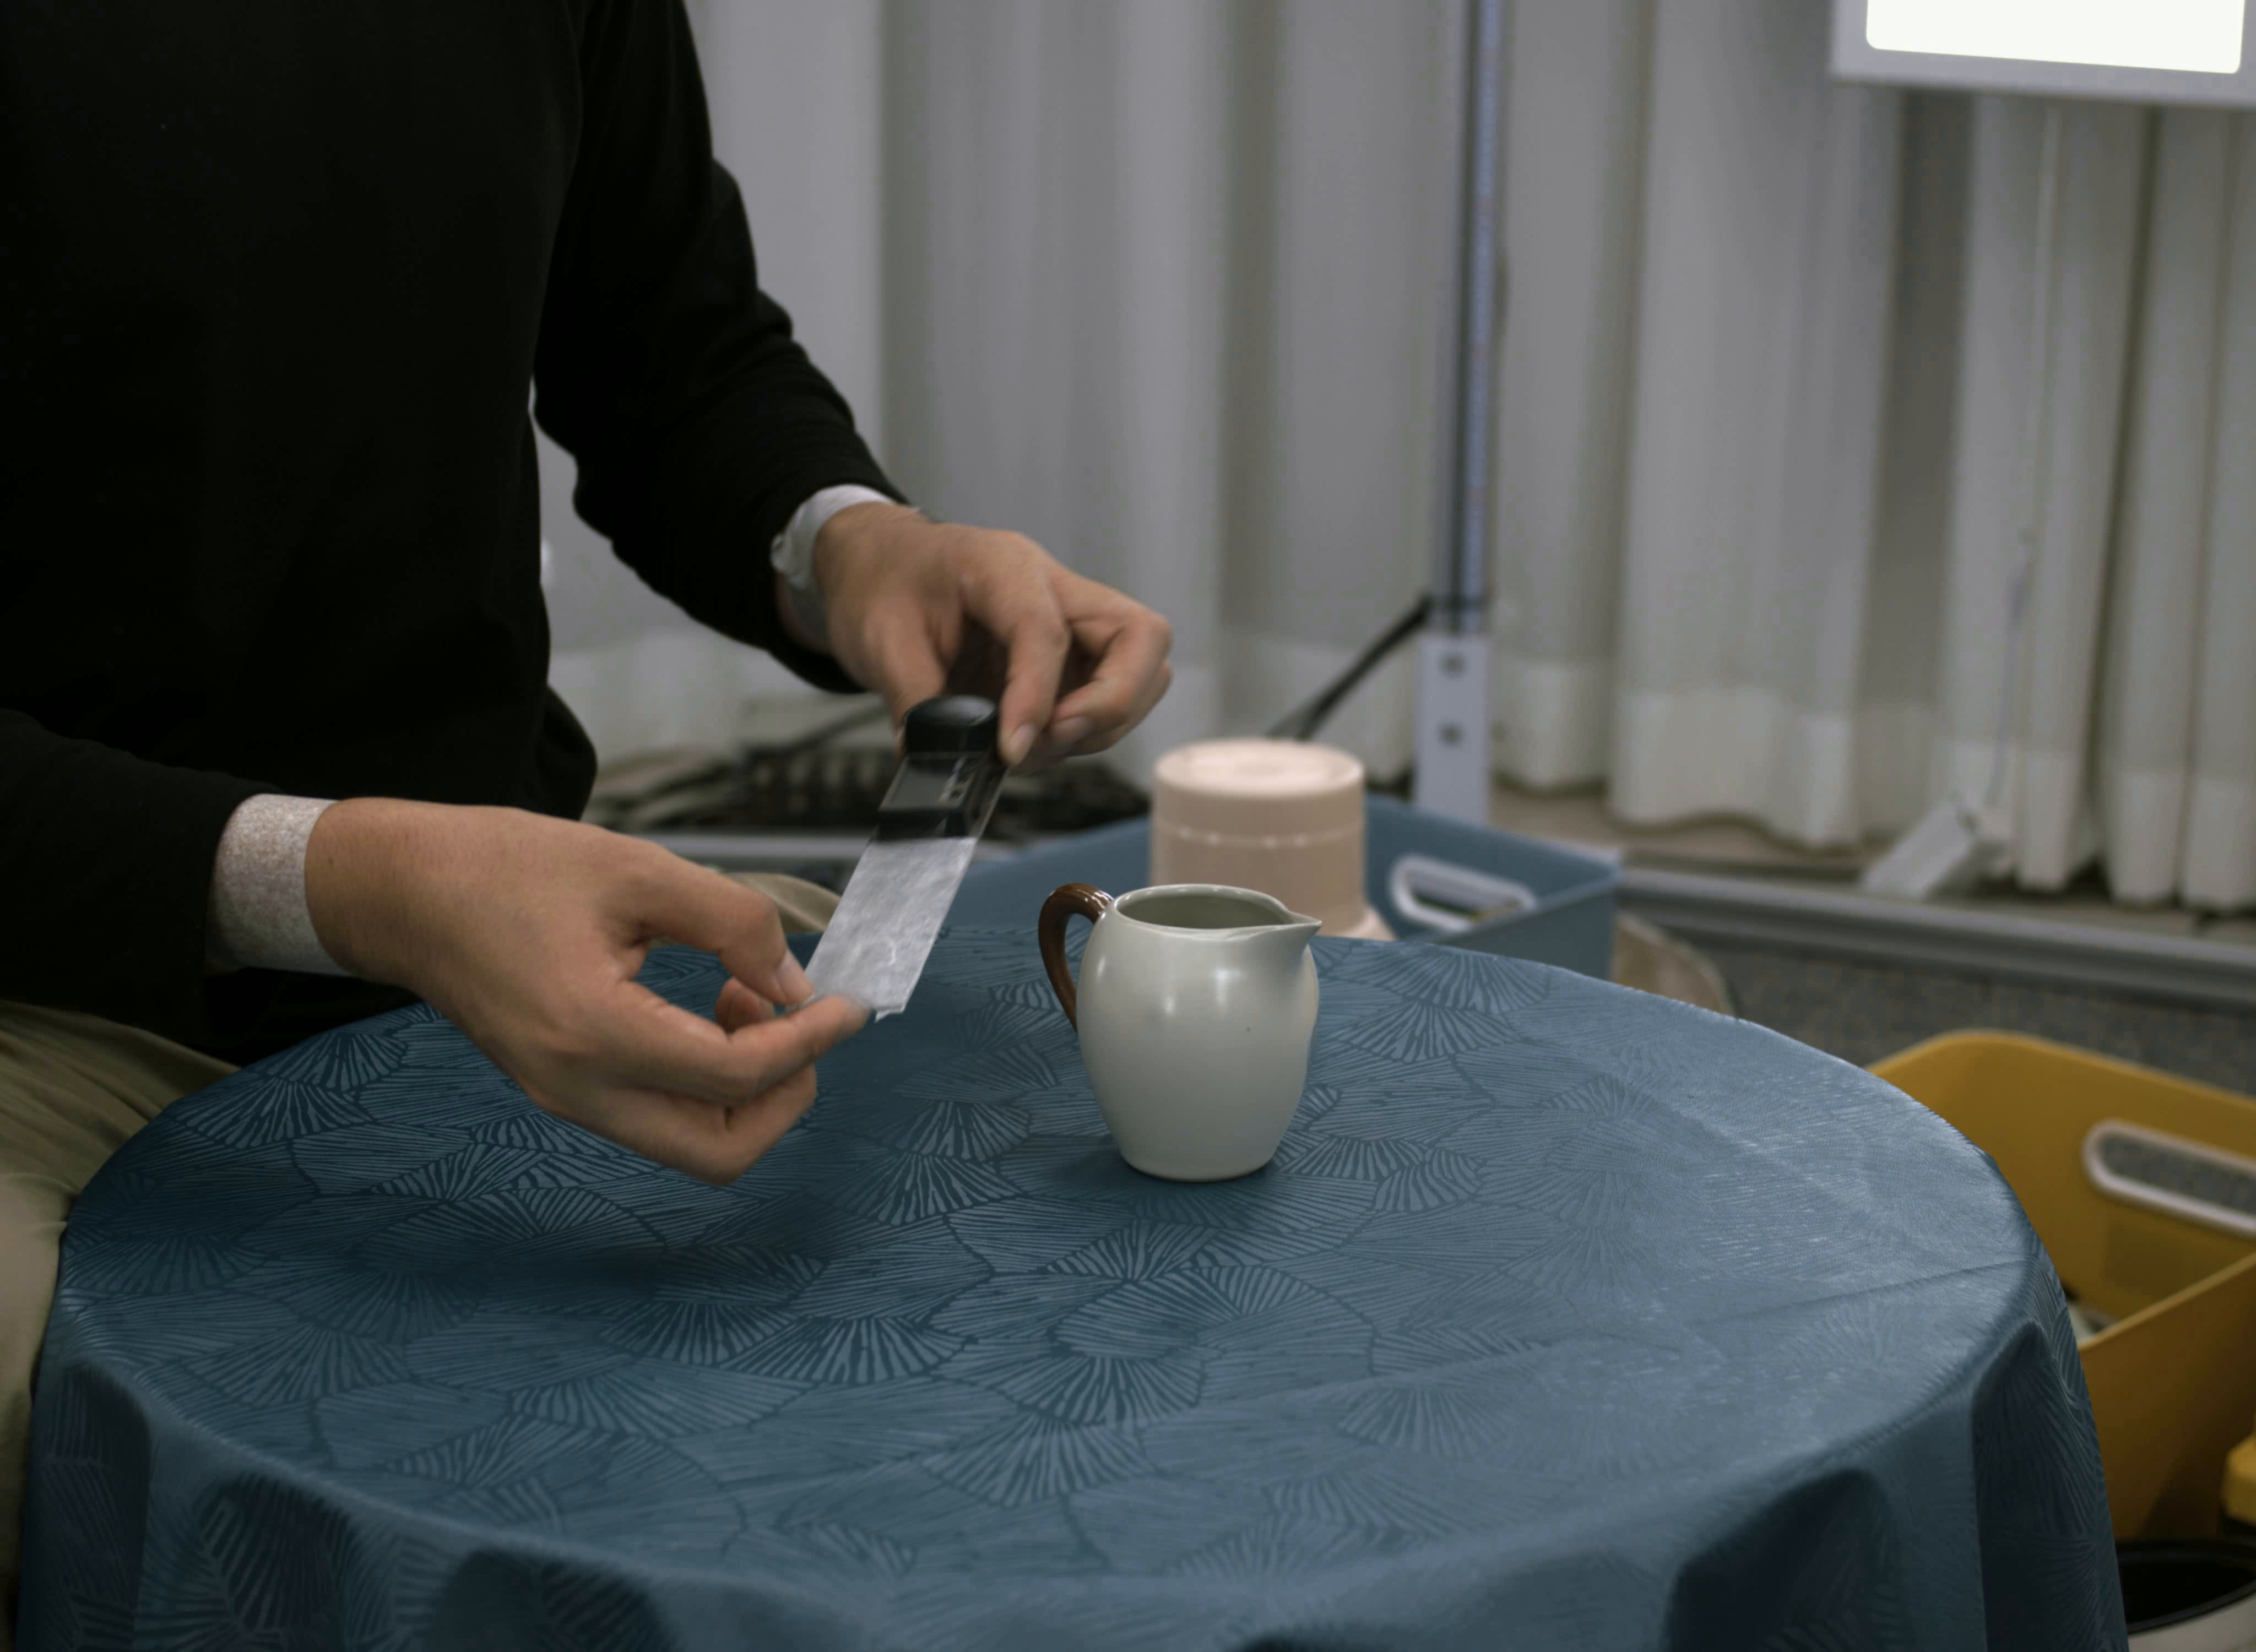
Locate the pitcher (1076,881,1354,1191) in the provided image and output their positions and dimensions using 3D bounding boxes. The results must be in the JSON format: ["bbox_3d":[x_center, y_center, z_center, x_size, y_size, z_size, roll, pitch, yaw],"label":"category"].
[{"bbox_3d":[0.024,0.063,1.636,0.076,0.088,0.117,-10,20,-42],"label":"pitcher"}]

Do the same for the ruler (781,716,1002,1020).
[{"bbox_3d":[-0.072,0.010,1.637,0.038,0.024,0.217,-9,18,11],"label":"ruler"}]
